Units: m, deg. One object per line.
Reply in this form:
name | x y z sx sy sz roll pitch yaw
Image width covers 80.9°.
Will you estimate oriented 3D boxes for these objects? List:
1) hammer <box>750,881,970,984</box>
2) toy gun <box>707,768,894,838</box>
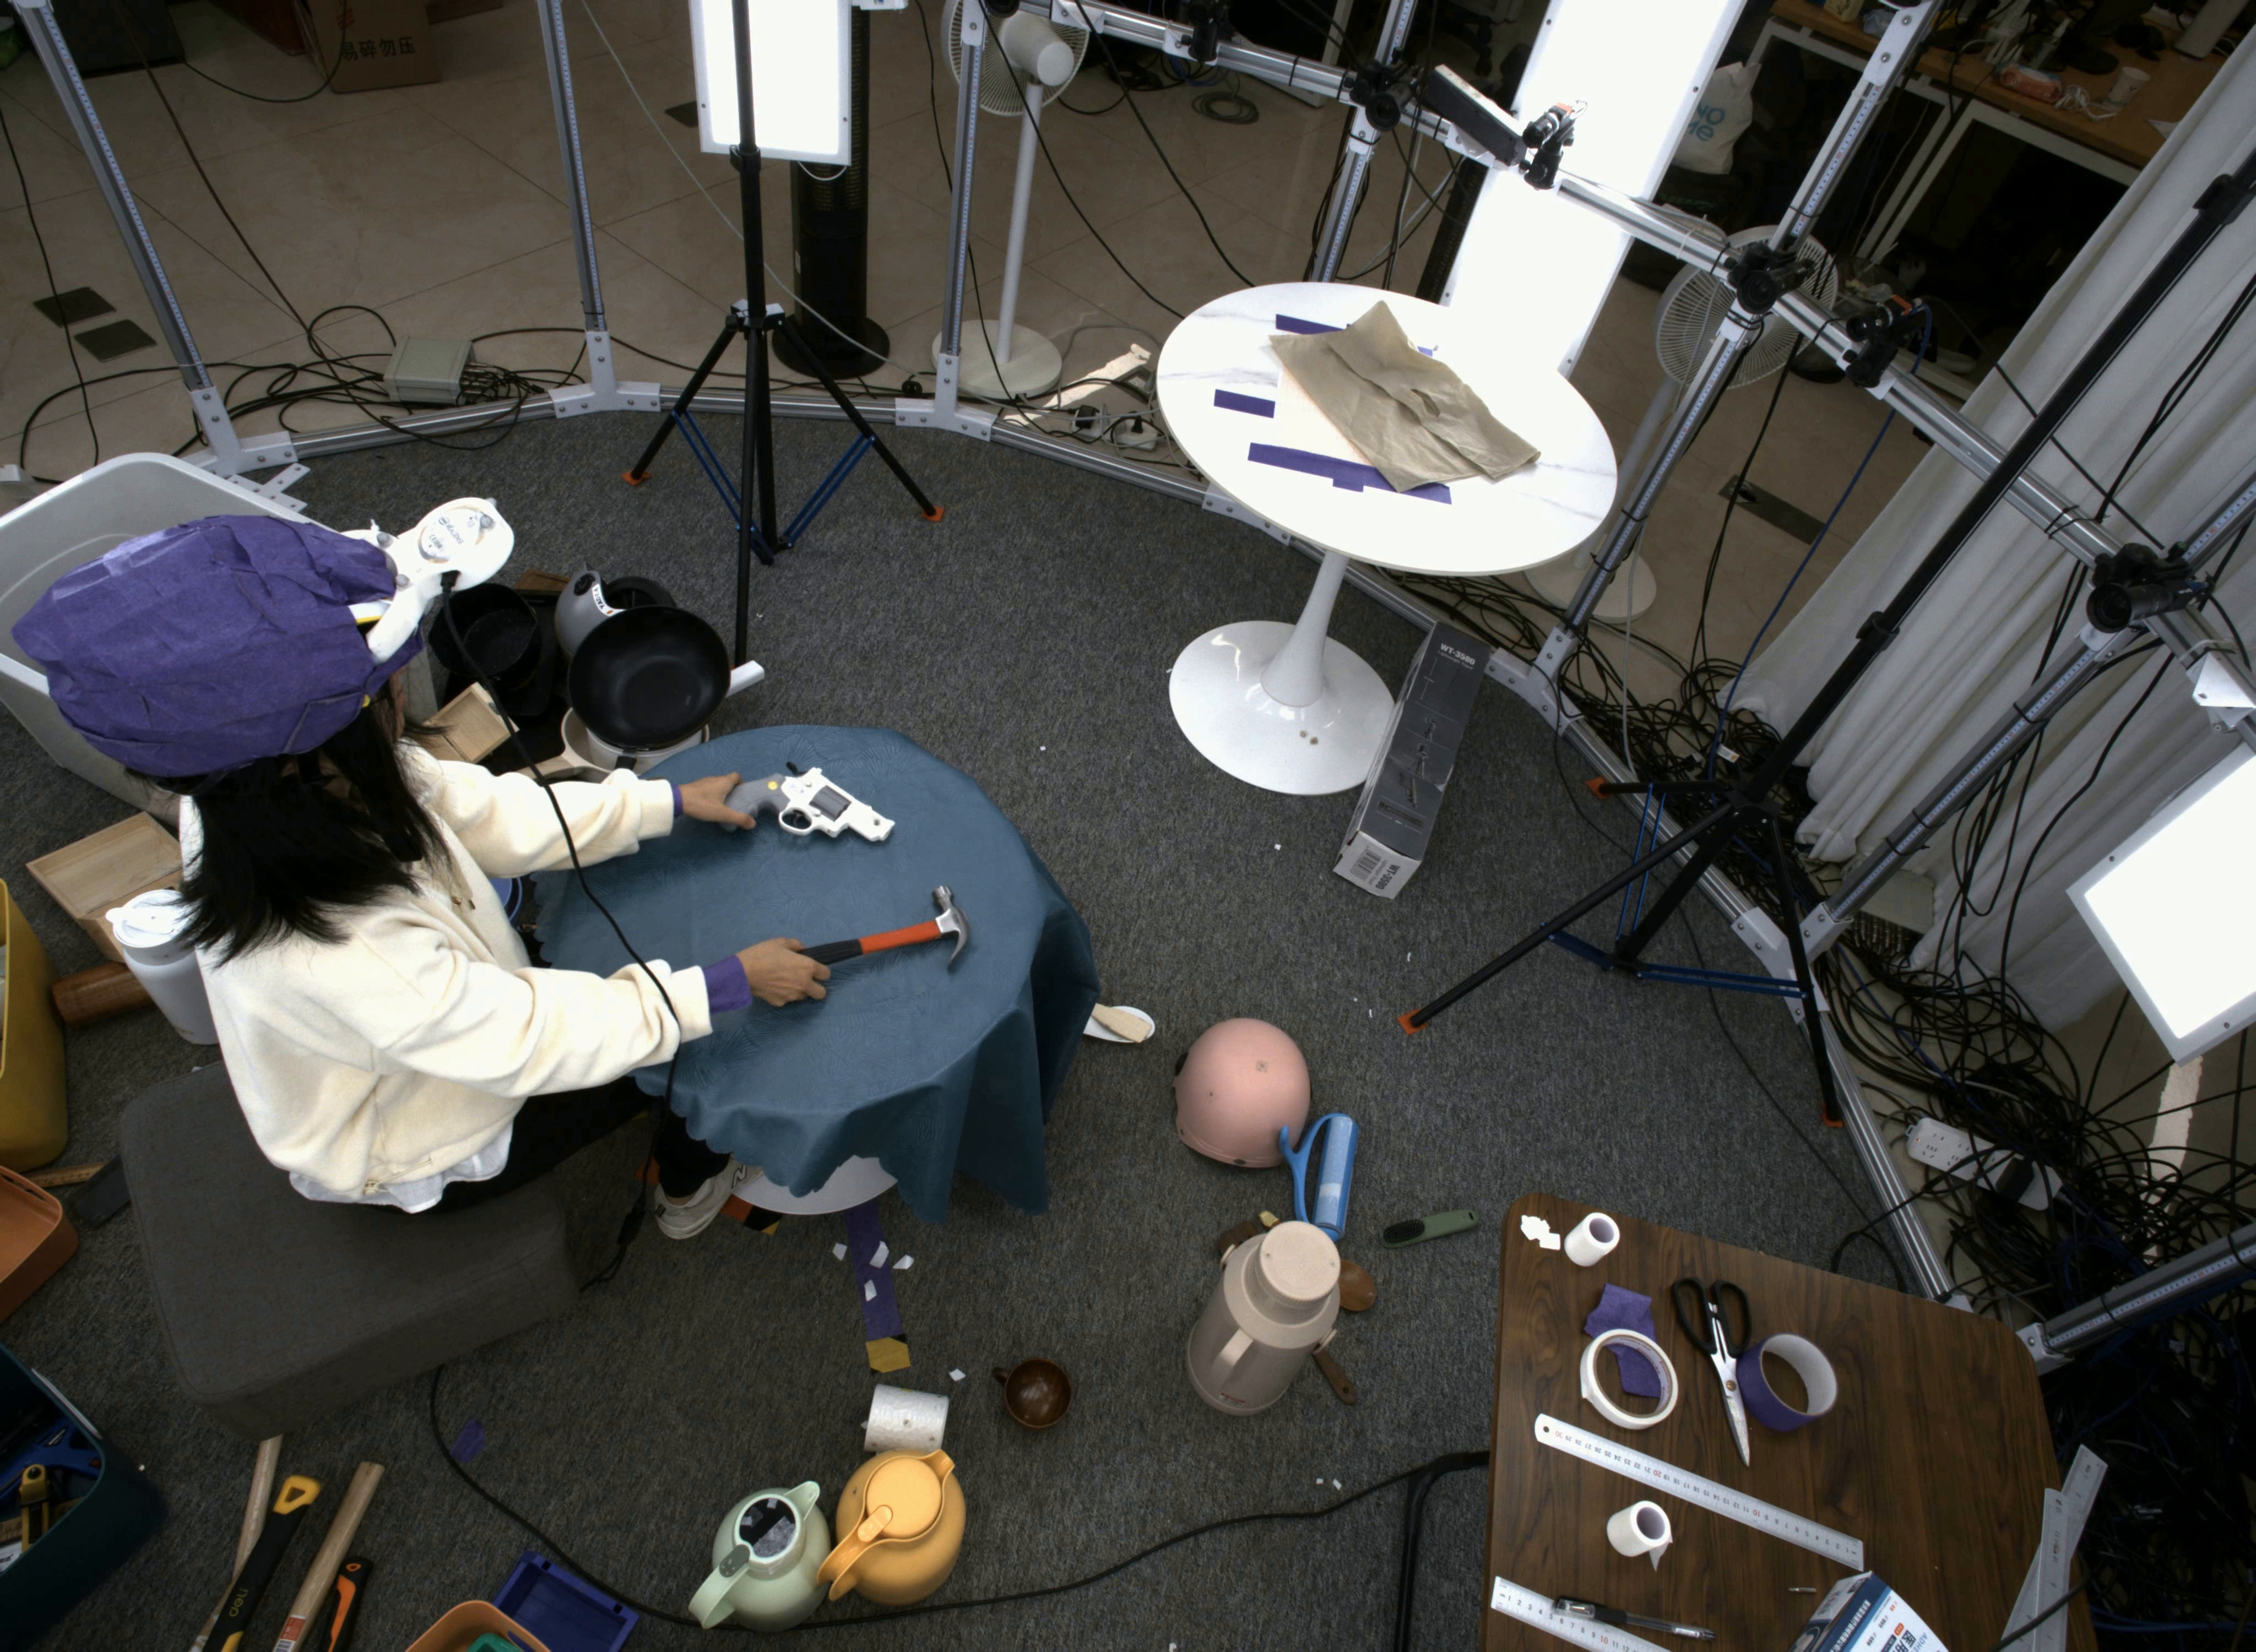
hammer | -0.326 0.146 1.601 0.280 0.026 0.109 -12 69 -29
toy gun | -0.429 -0.014 1.699 0.207 0.039 0.141 29 52 1
